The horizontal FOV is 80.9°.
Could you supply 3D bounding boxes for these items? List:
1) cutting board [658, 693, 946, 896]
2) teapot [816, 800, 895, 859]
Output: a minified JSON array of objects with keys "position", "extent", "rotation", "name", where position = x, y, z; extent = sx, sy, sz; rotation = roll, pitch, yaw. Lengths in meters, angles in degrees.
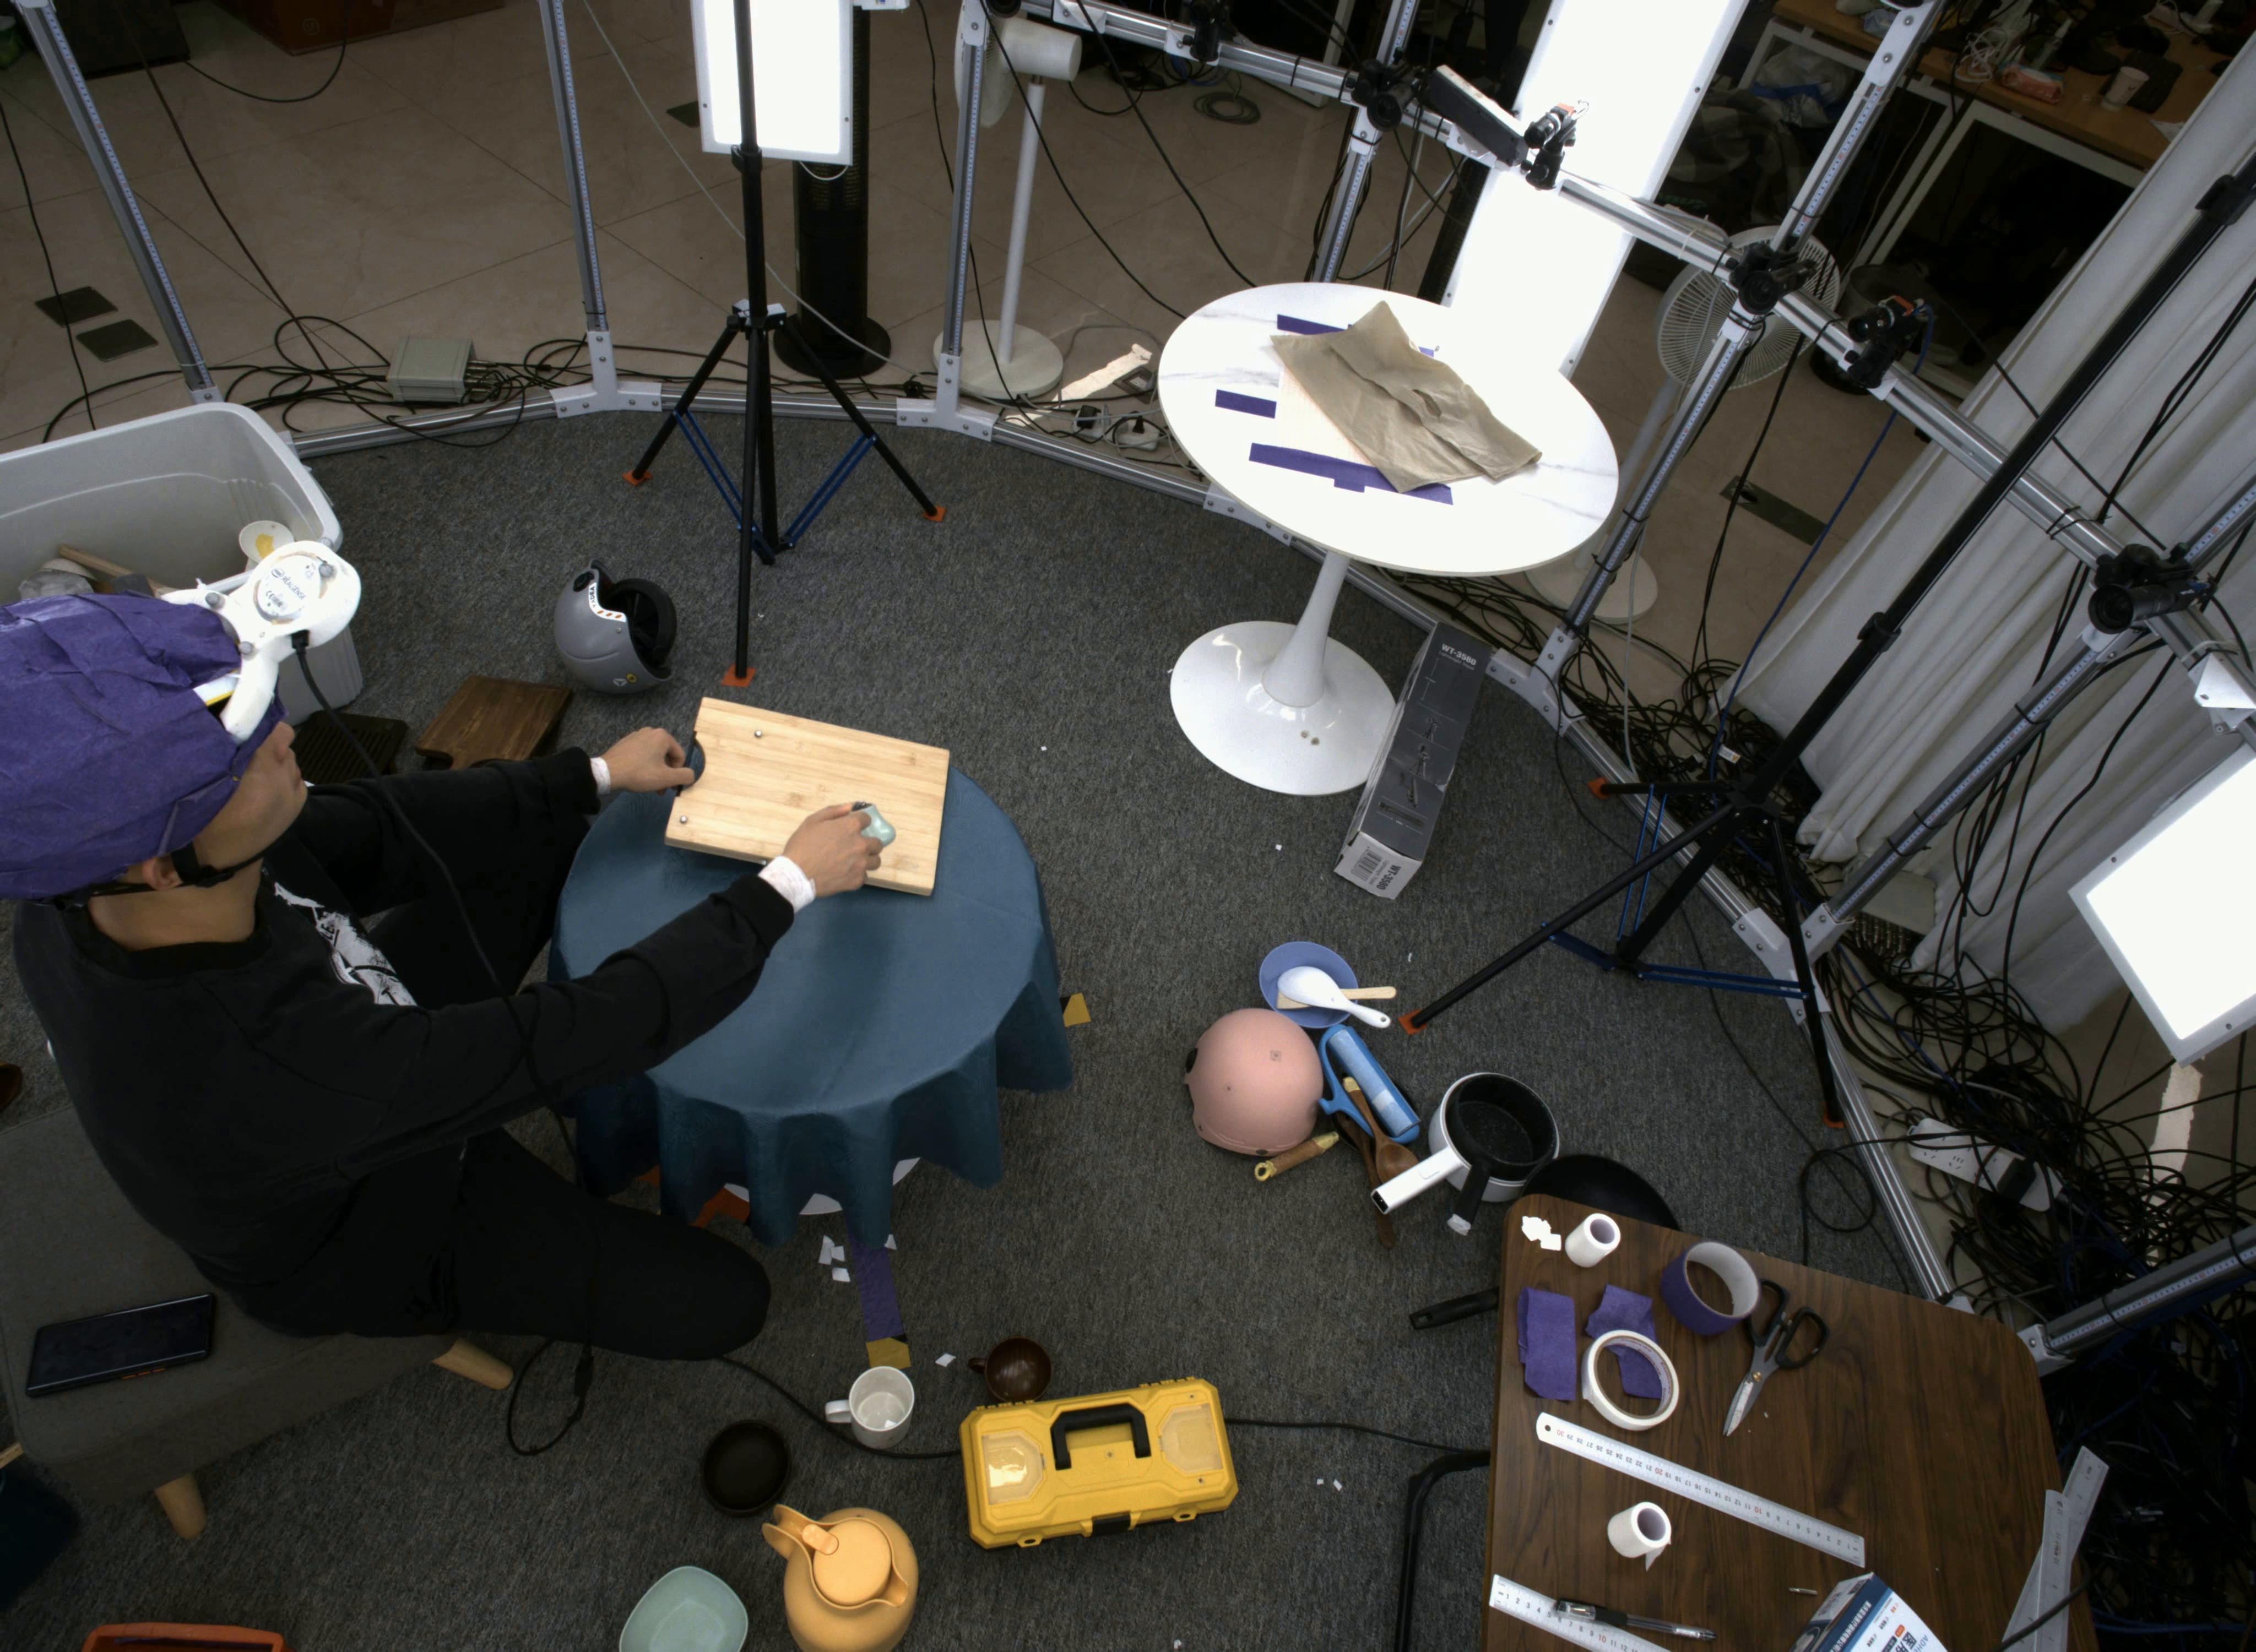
[{"position":[-0.420,-0.044,1.710],"extent":[0.351,0.024,0.246],"rotation":[12,51,-18],"name":"cutting board"},{"position":[-0.331,0.003,1.564],"extent":[0.096,0.134,0.063],"rotation":[-13,100,-14],"name":"teapot"}]
